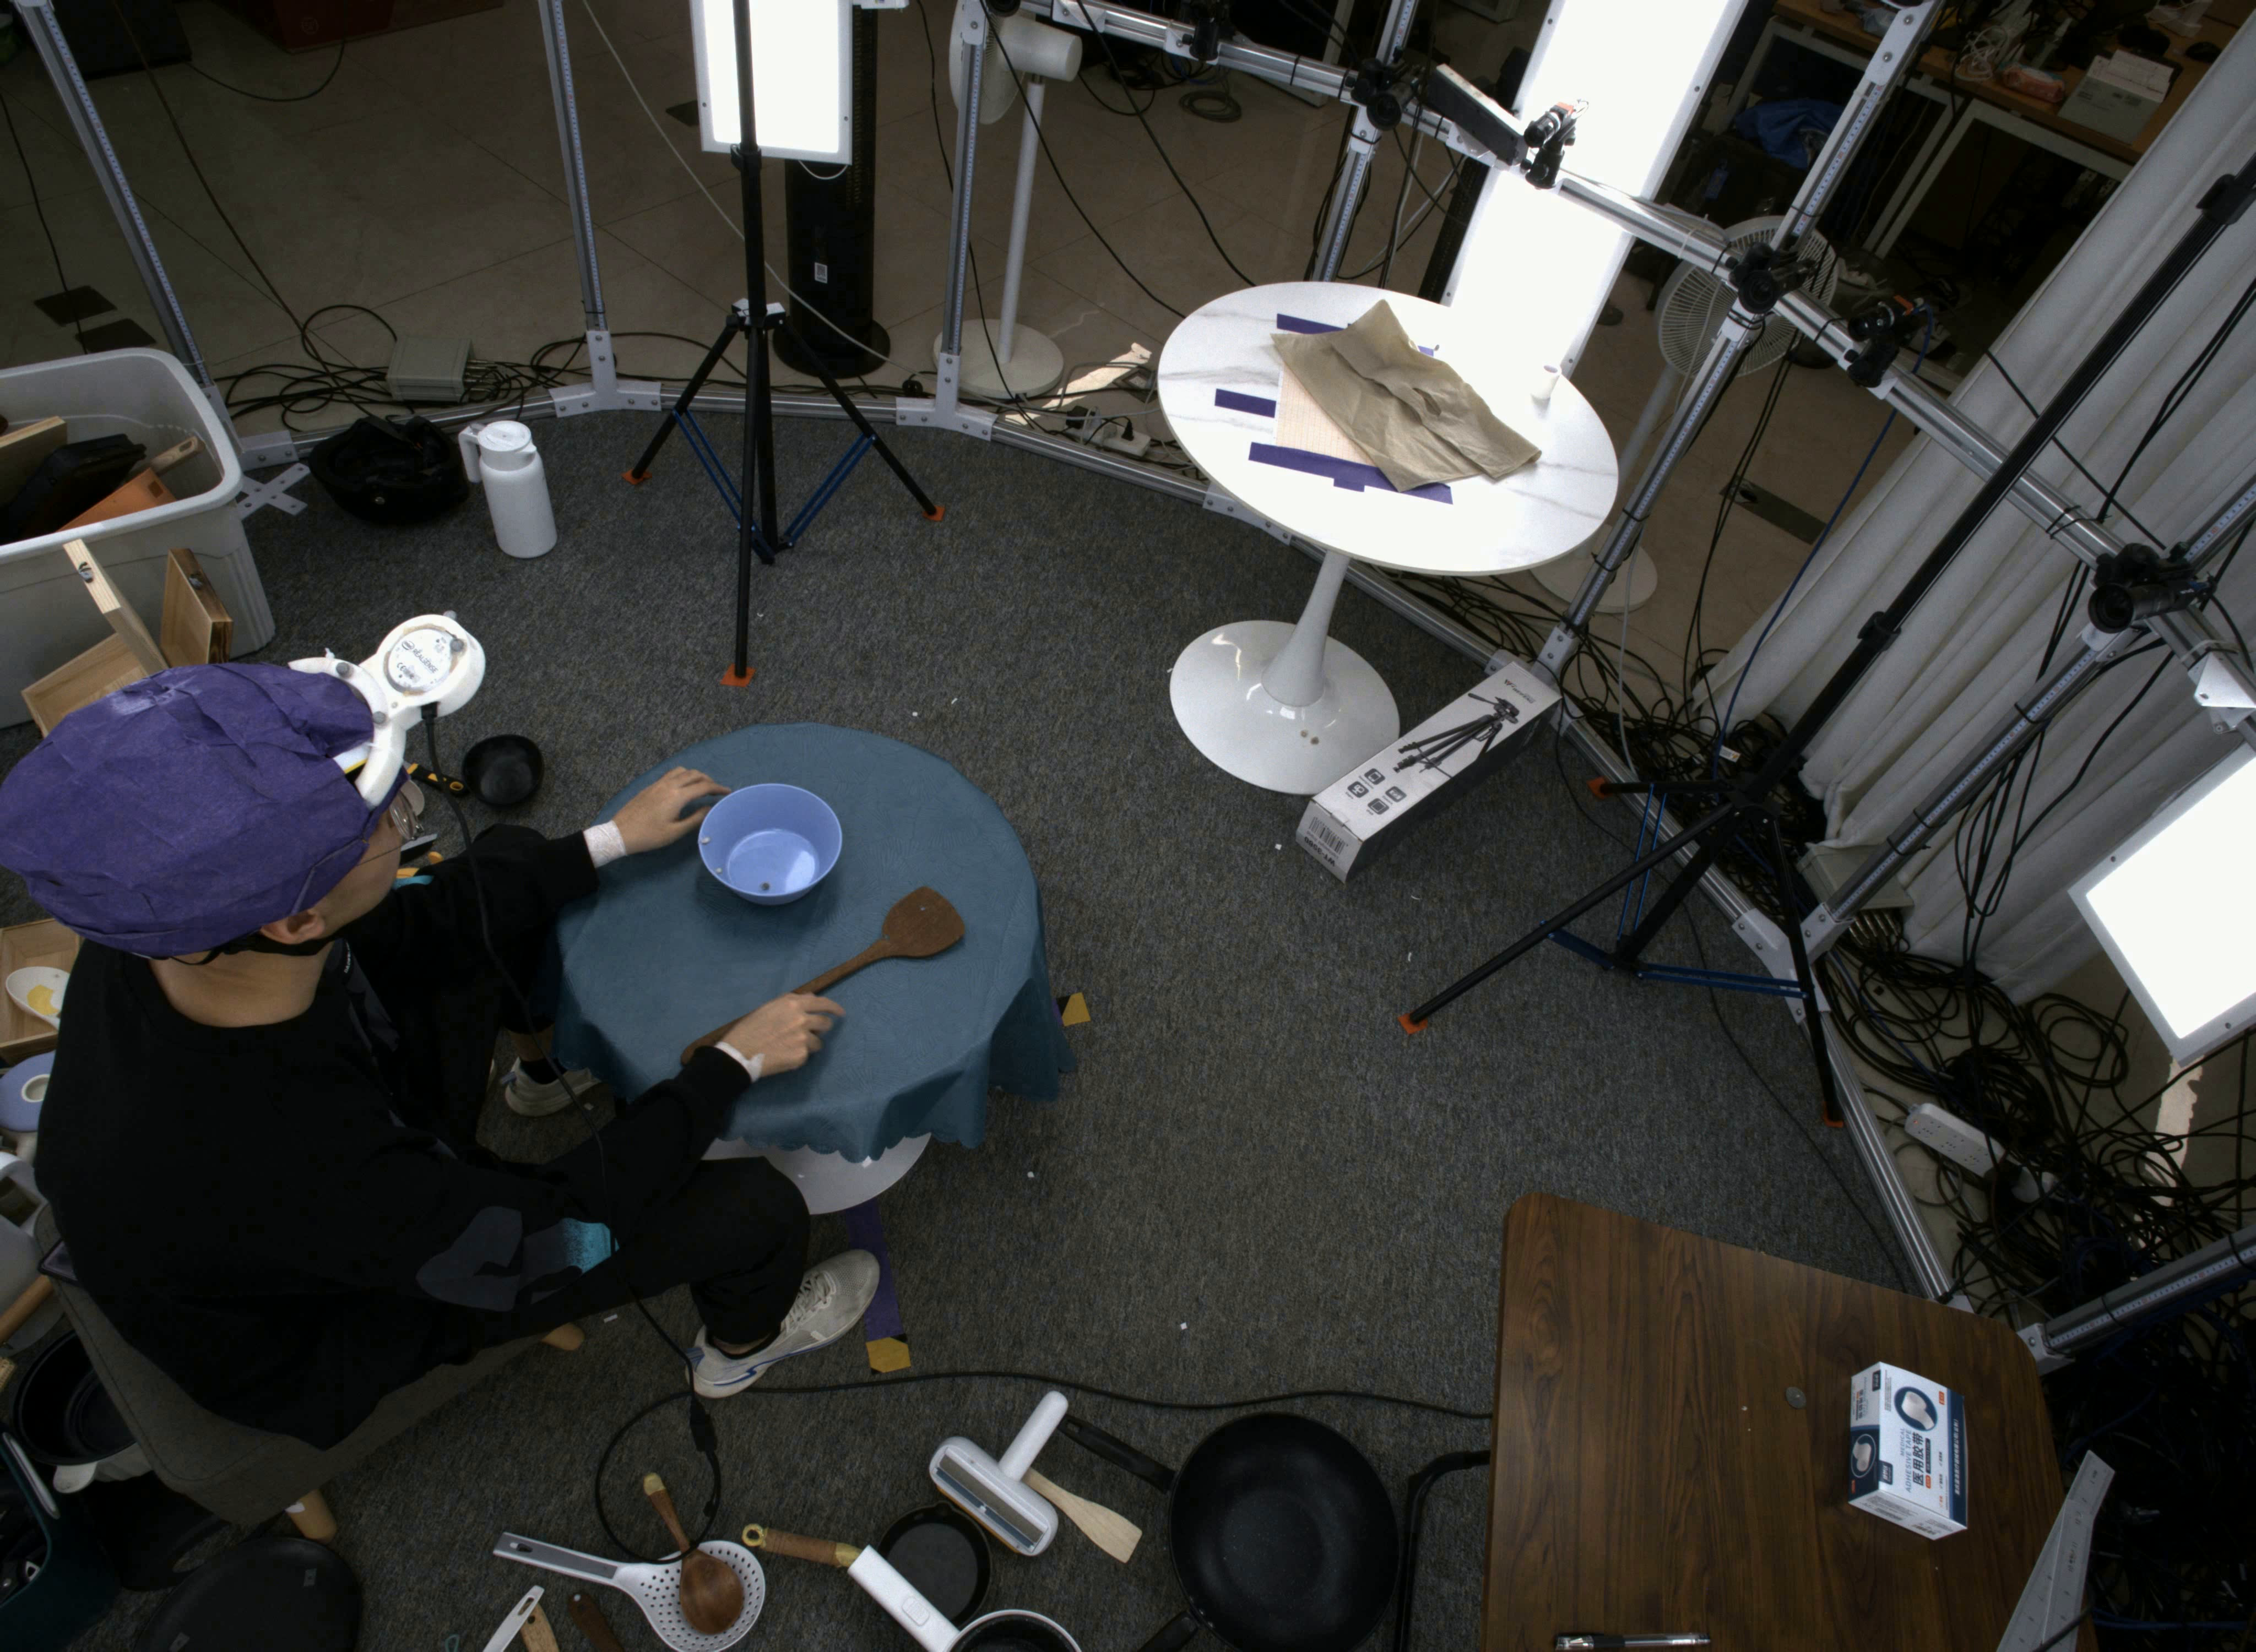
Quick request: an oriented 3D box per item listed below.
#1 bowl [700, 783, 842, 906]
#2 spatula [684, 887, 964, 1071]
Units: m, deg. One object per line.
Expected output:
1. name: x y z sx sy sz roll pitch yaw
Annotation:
1. bowl: -0.453 0.033 1.652 0.175 0.072 0.173 7 53 -7
2. spatula: -0.372 0.189 1.593 0.387 0.016 0.094 -31 66 -31
